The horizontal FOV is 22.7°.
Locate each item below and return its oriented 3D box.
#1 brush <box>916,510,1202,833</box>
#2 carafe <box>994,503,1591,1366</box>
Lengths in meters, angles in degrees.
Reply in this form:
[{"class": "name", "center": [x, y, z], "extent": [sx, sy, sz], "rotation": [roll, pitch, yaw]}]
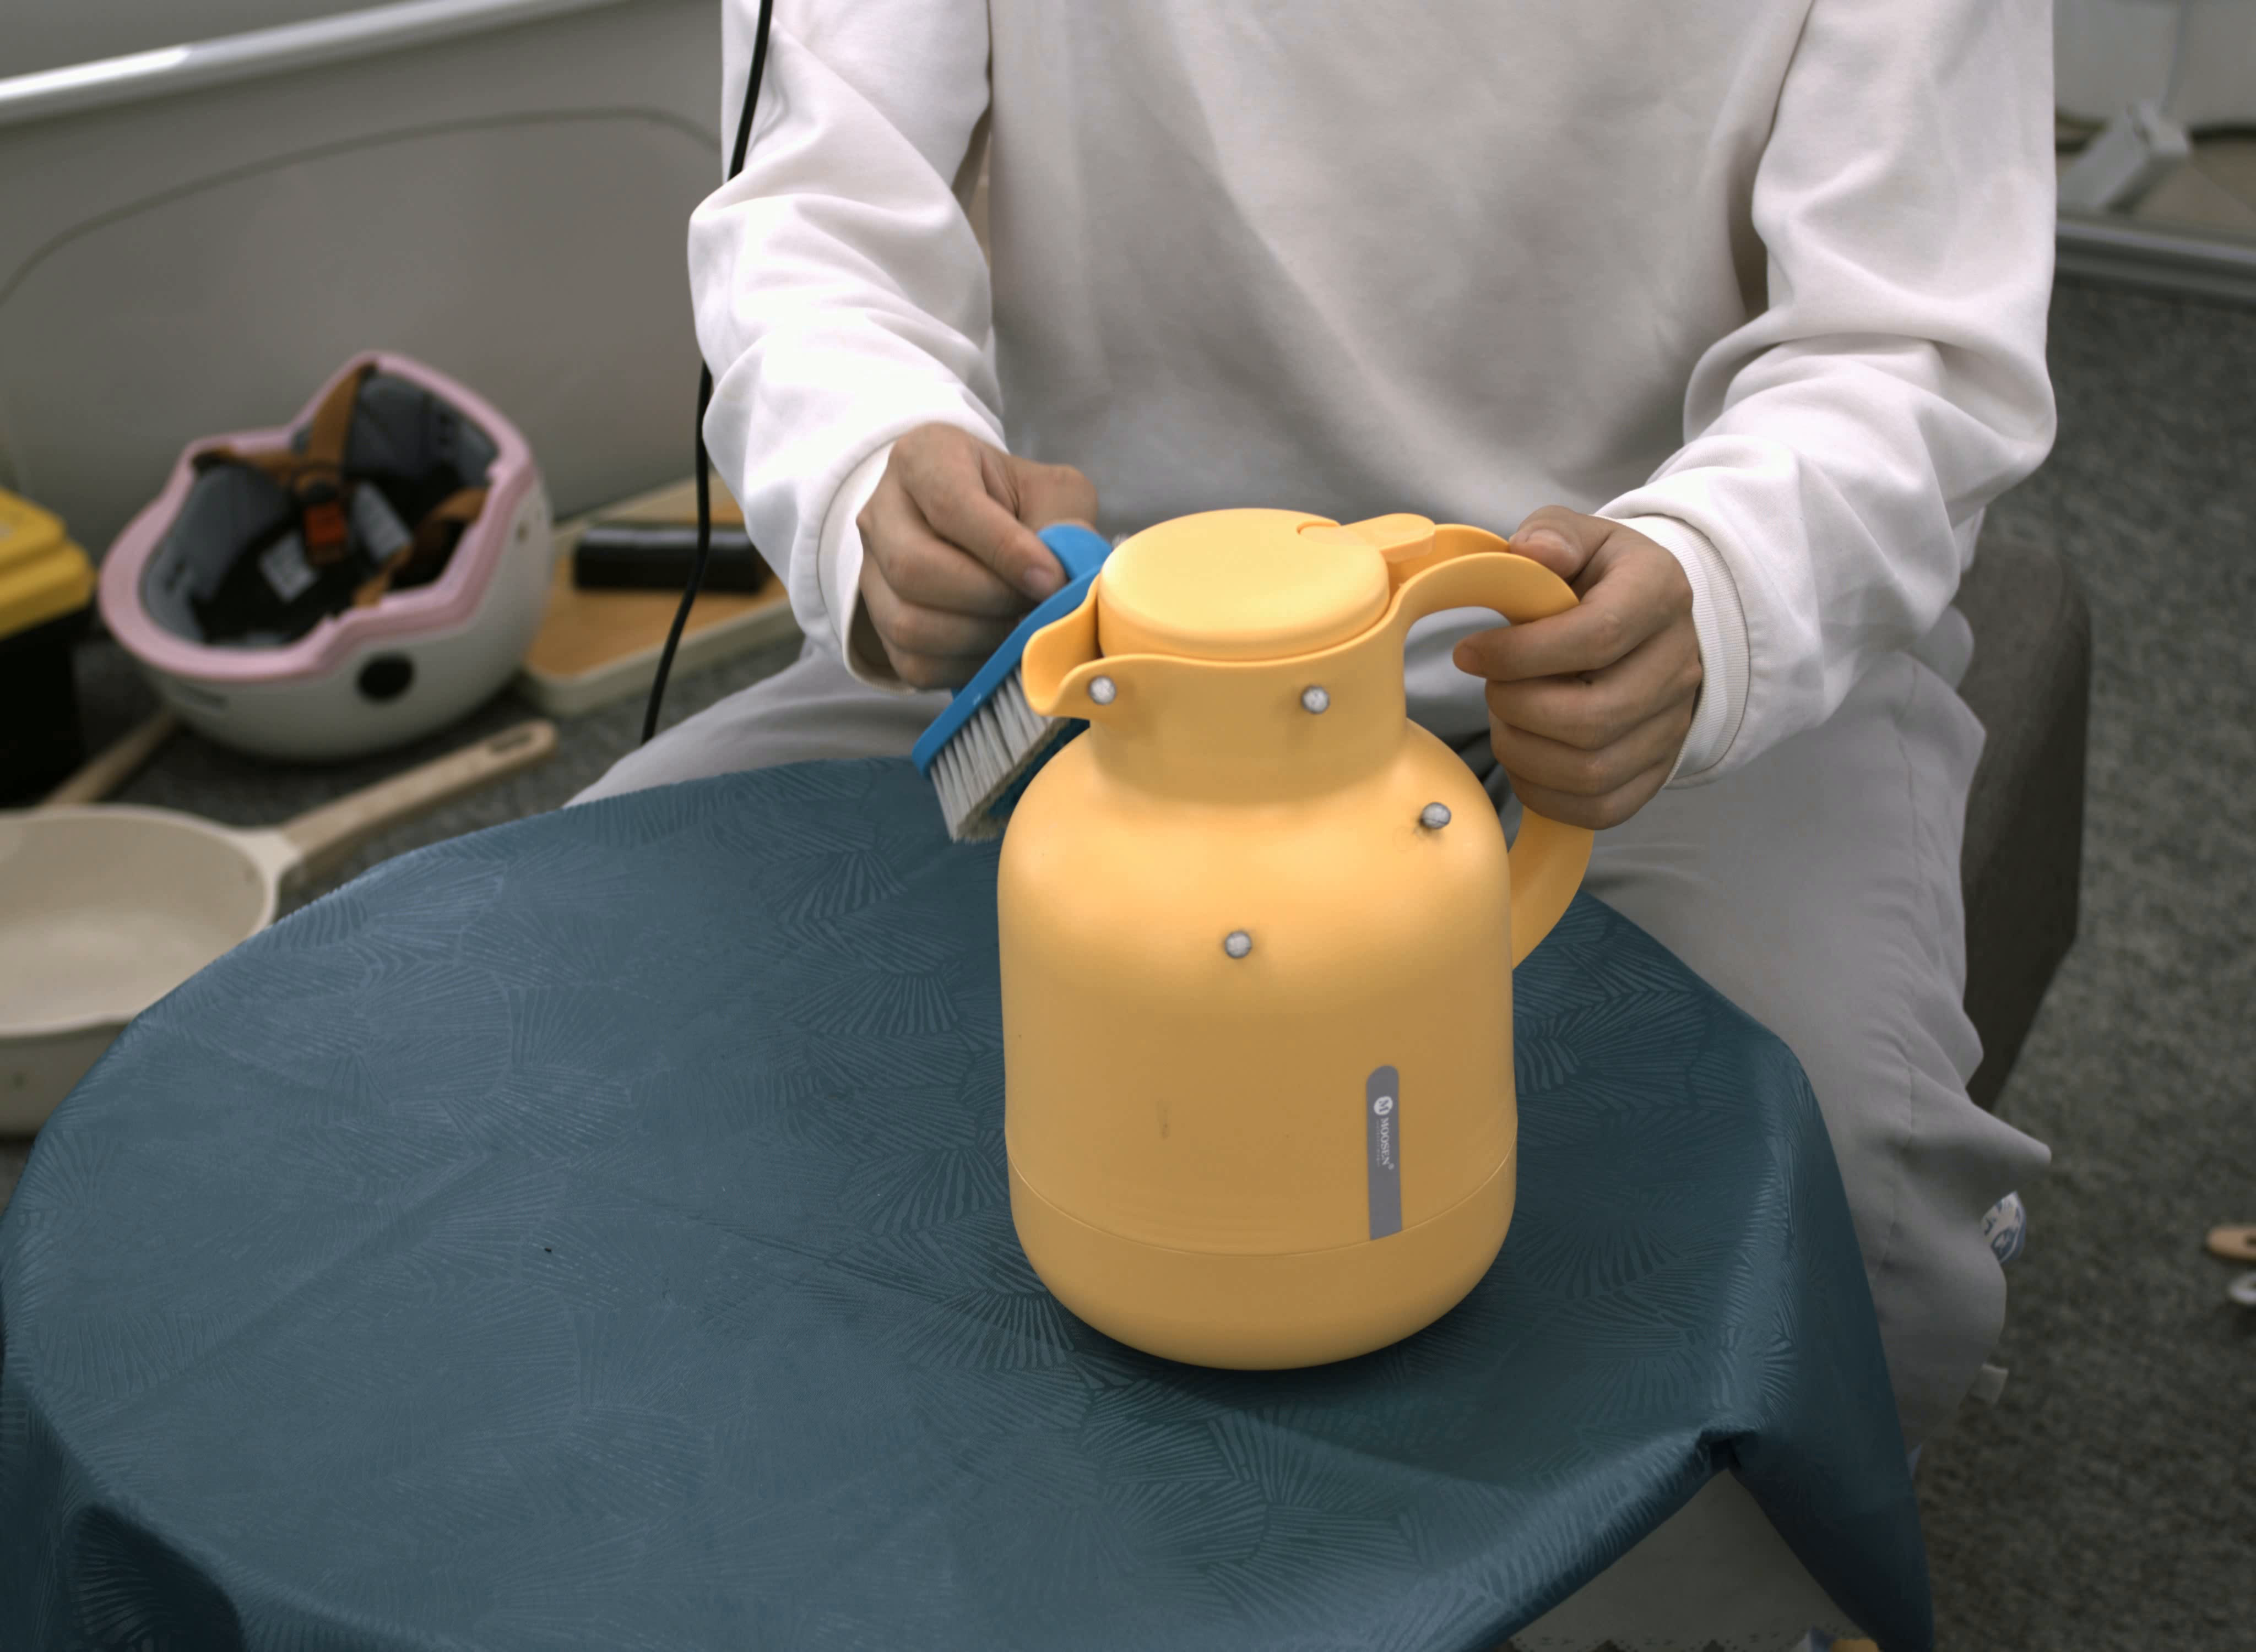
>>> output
[{"class": "brush", "center": [-0.025, -0.059, 1.827], "extent": [0.085, 0.139, 0.064], "rotation": [-28, 77, -39]}, {"class": "carafe", "center": [0.056, 0.025, 1.767], "extent": [0.203, 0.257, 0.164], "rotation": [-17, 32, -23]}]
